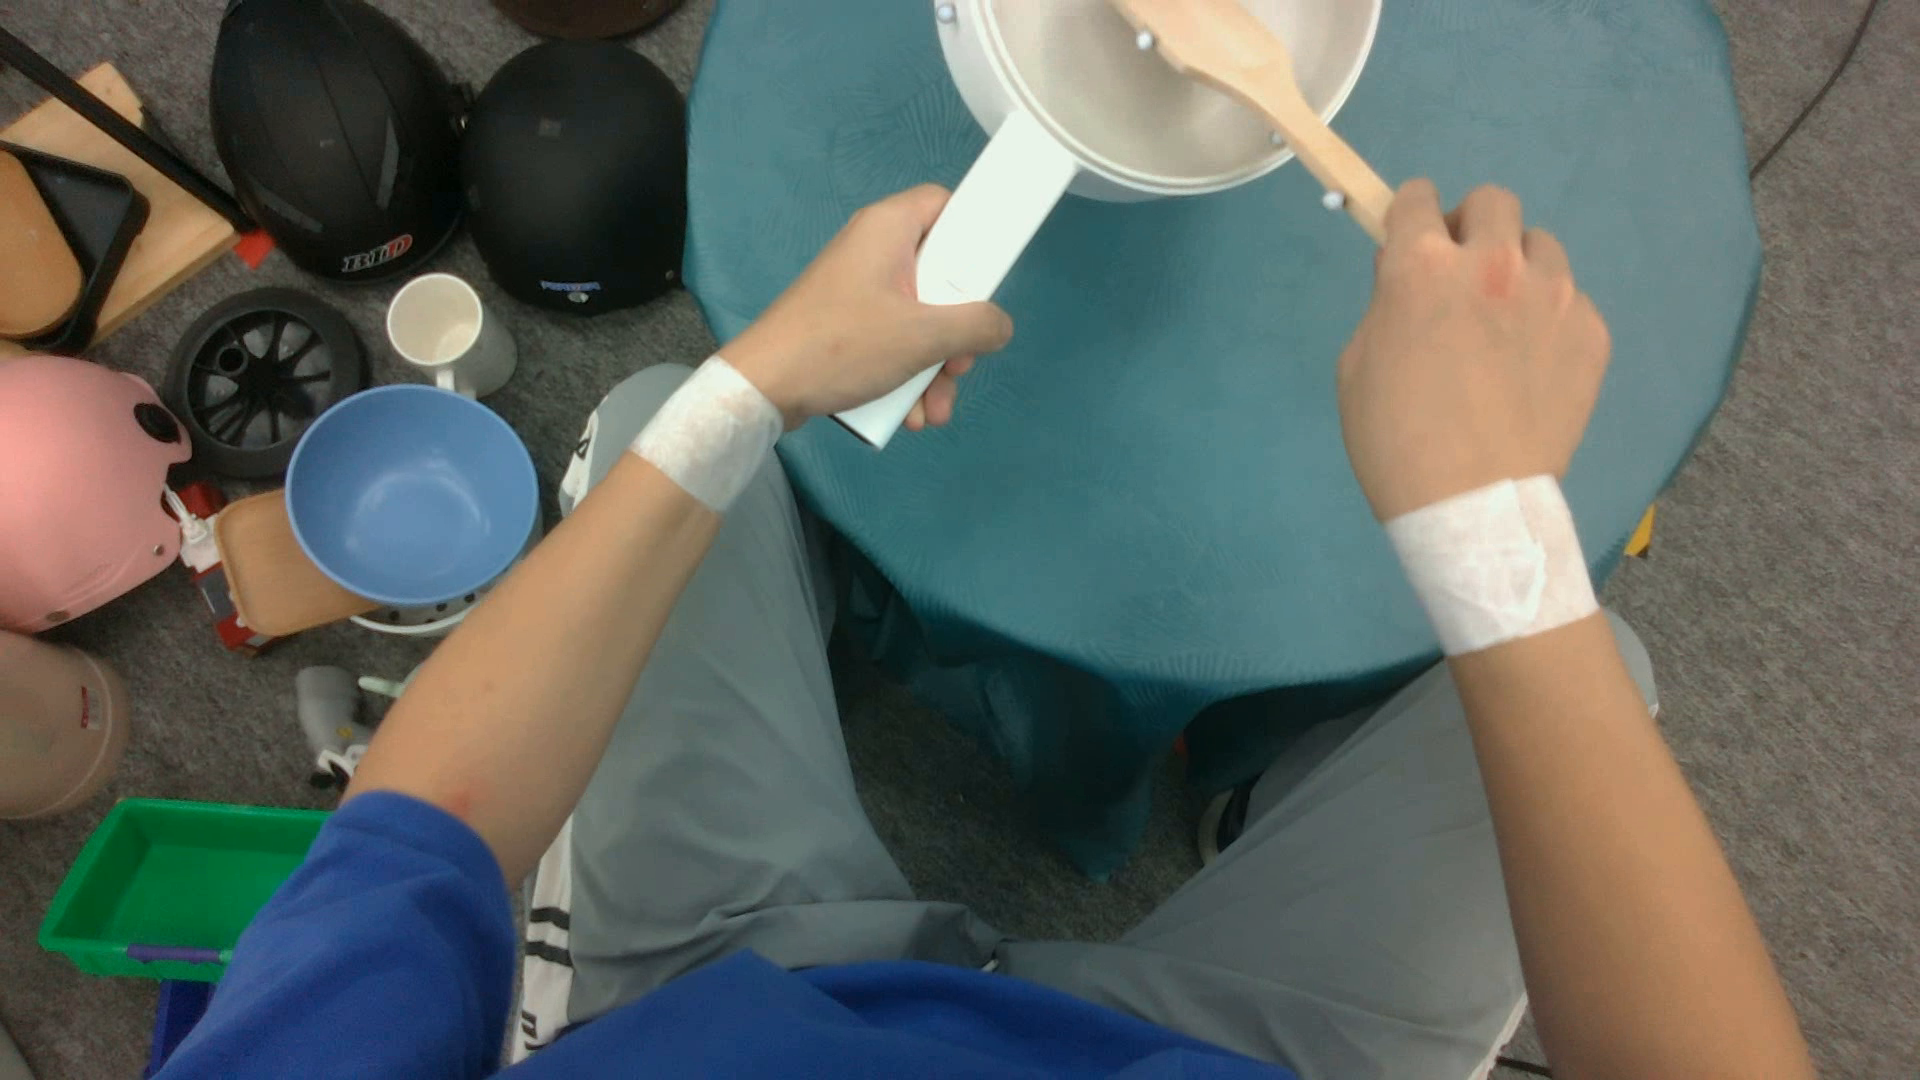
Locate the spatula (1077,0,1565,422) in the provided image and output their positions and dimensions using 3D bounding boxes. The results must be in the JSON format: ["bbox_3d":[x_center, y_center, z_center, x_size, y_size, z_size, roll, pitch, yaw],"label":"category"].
[{"bbox_3d":[0.154,-0.154,0.596,0.072,0.010,0.293,-15,57,-34],"label":"spatula"}]

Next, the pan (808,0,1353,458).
[{"bbox_3d":[0.038,-0.197,0.670,0.201,0.102,0.355,35,87,-18],"label":"pan"}]
